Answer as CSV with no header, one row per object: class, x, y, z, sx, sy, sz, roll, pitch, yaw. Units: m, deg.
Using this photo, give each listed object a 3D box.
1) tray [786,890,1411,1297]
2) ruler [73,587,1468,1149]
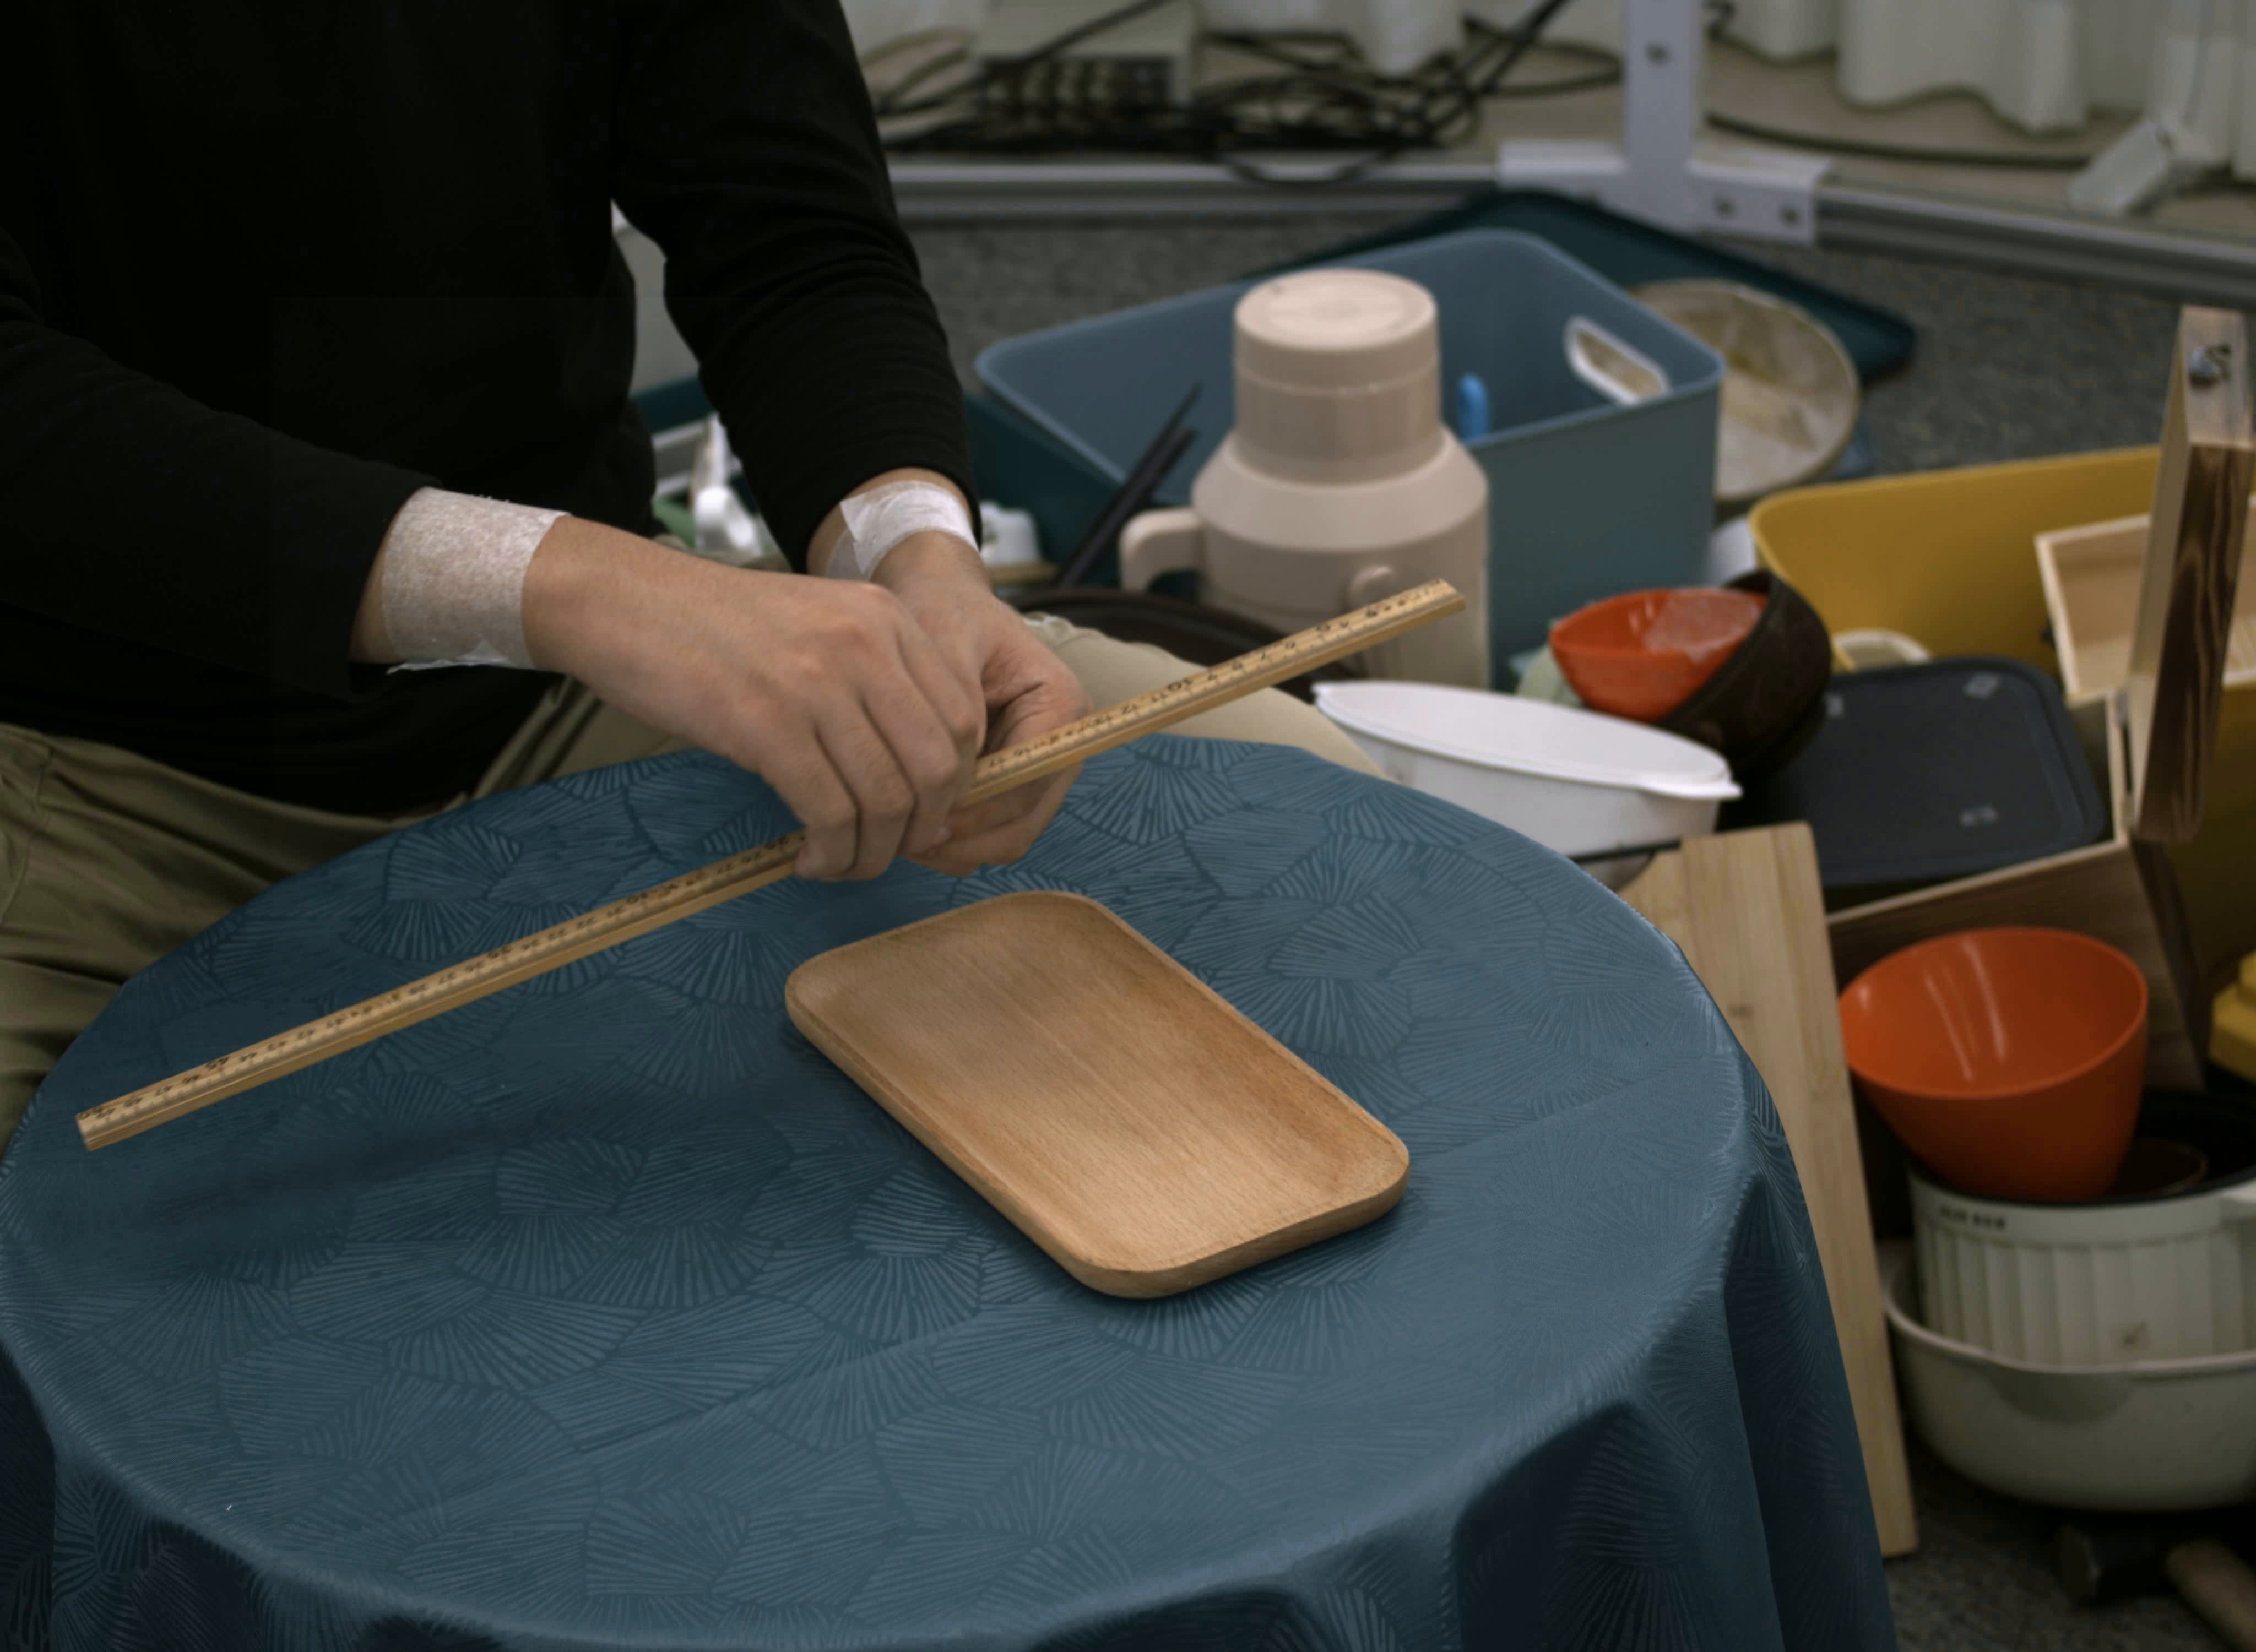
tray,-0.013,0.088,1.910,0.131,0.022,0.252,-15,28,-25
ruler,-0.117,0.012,1.890,0.501,0.006,0.027,-21,20,-10
